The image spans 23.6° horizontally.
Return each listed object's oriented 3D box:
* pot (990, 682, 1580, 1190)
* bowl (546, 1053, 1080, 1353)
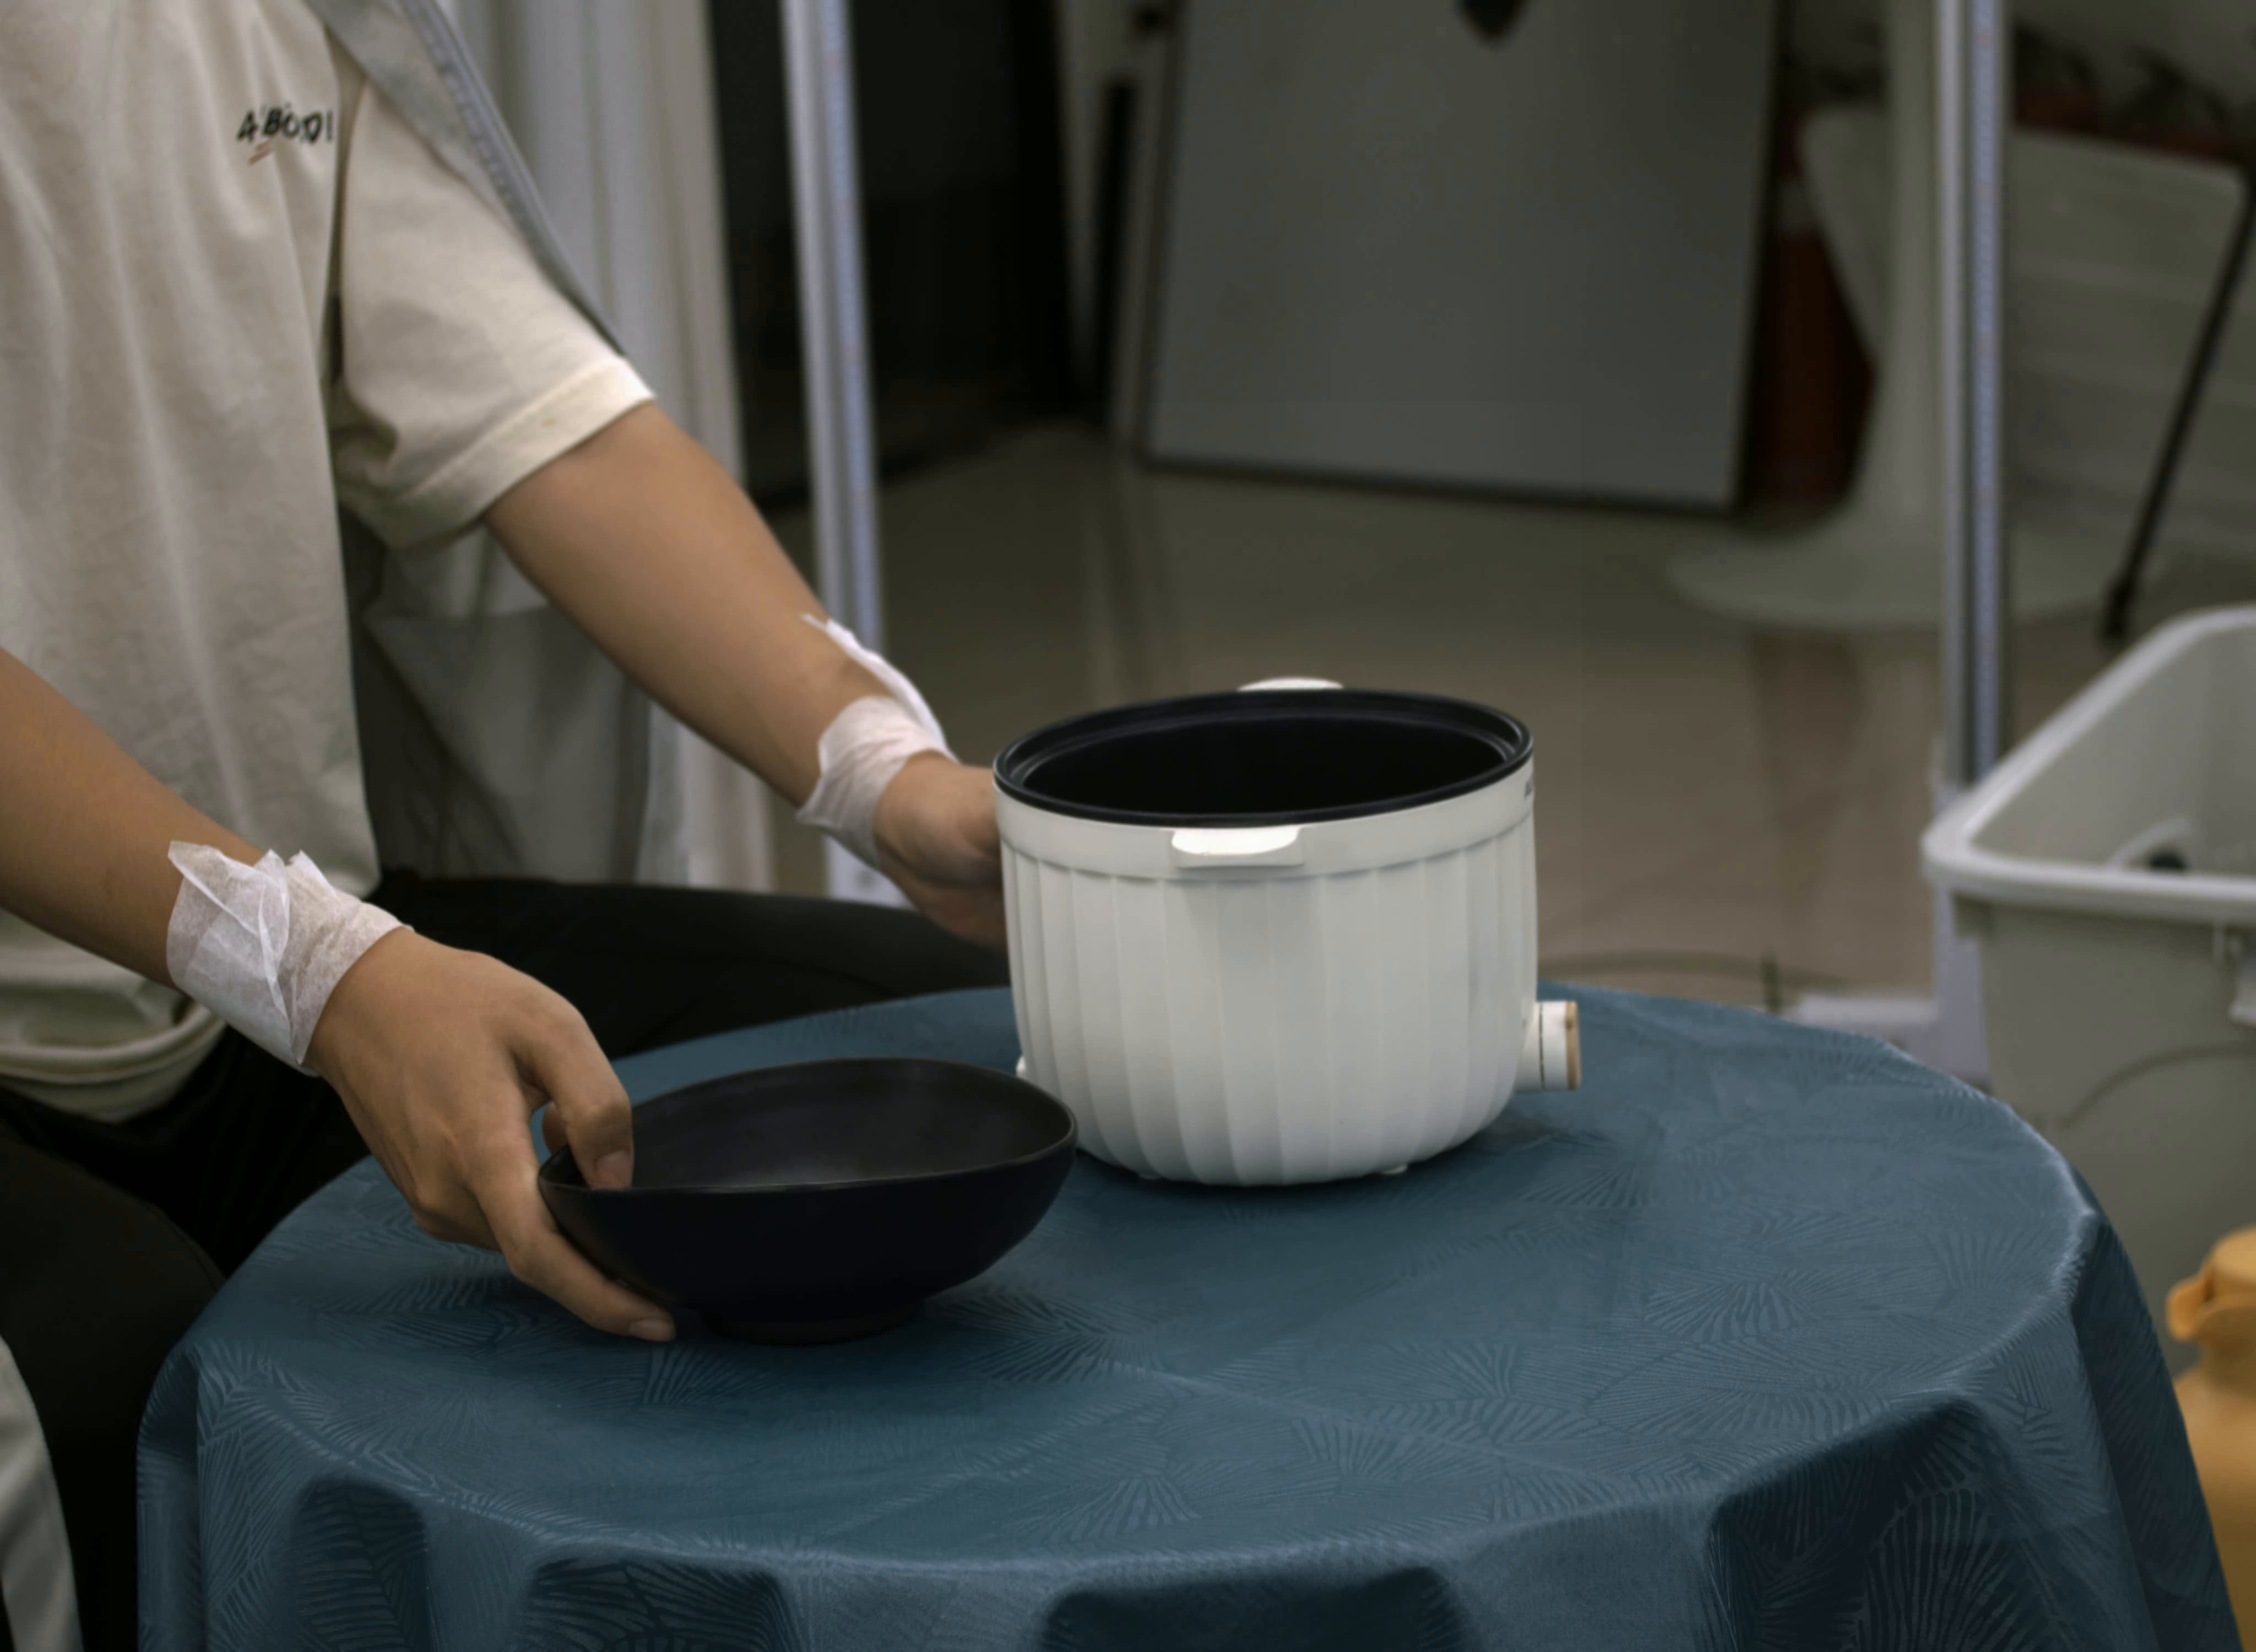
[{"bbox_3d":[0.054,0.038,1.806,0.189,0.144,0.240,-6,14,8],"label":"pot"},{"bbox_3d":[-0.096,0.121,1.666,0.169,0.067,0.137,-3,13,8],"label":"bowl"}]
